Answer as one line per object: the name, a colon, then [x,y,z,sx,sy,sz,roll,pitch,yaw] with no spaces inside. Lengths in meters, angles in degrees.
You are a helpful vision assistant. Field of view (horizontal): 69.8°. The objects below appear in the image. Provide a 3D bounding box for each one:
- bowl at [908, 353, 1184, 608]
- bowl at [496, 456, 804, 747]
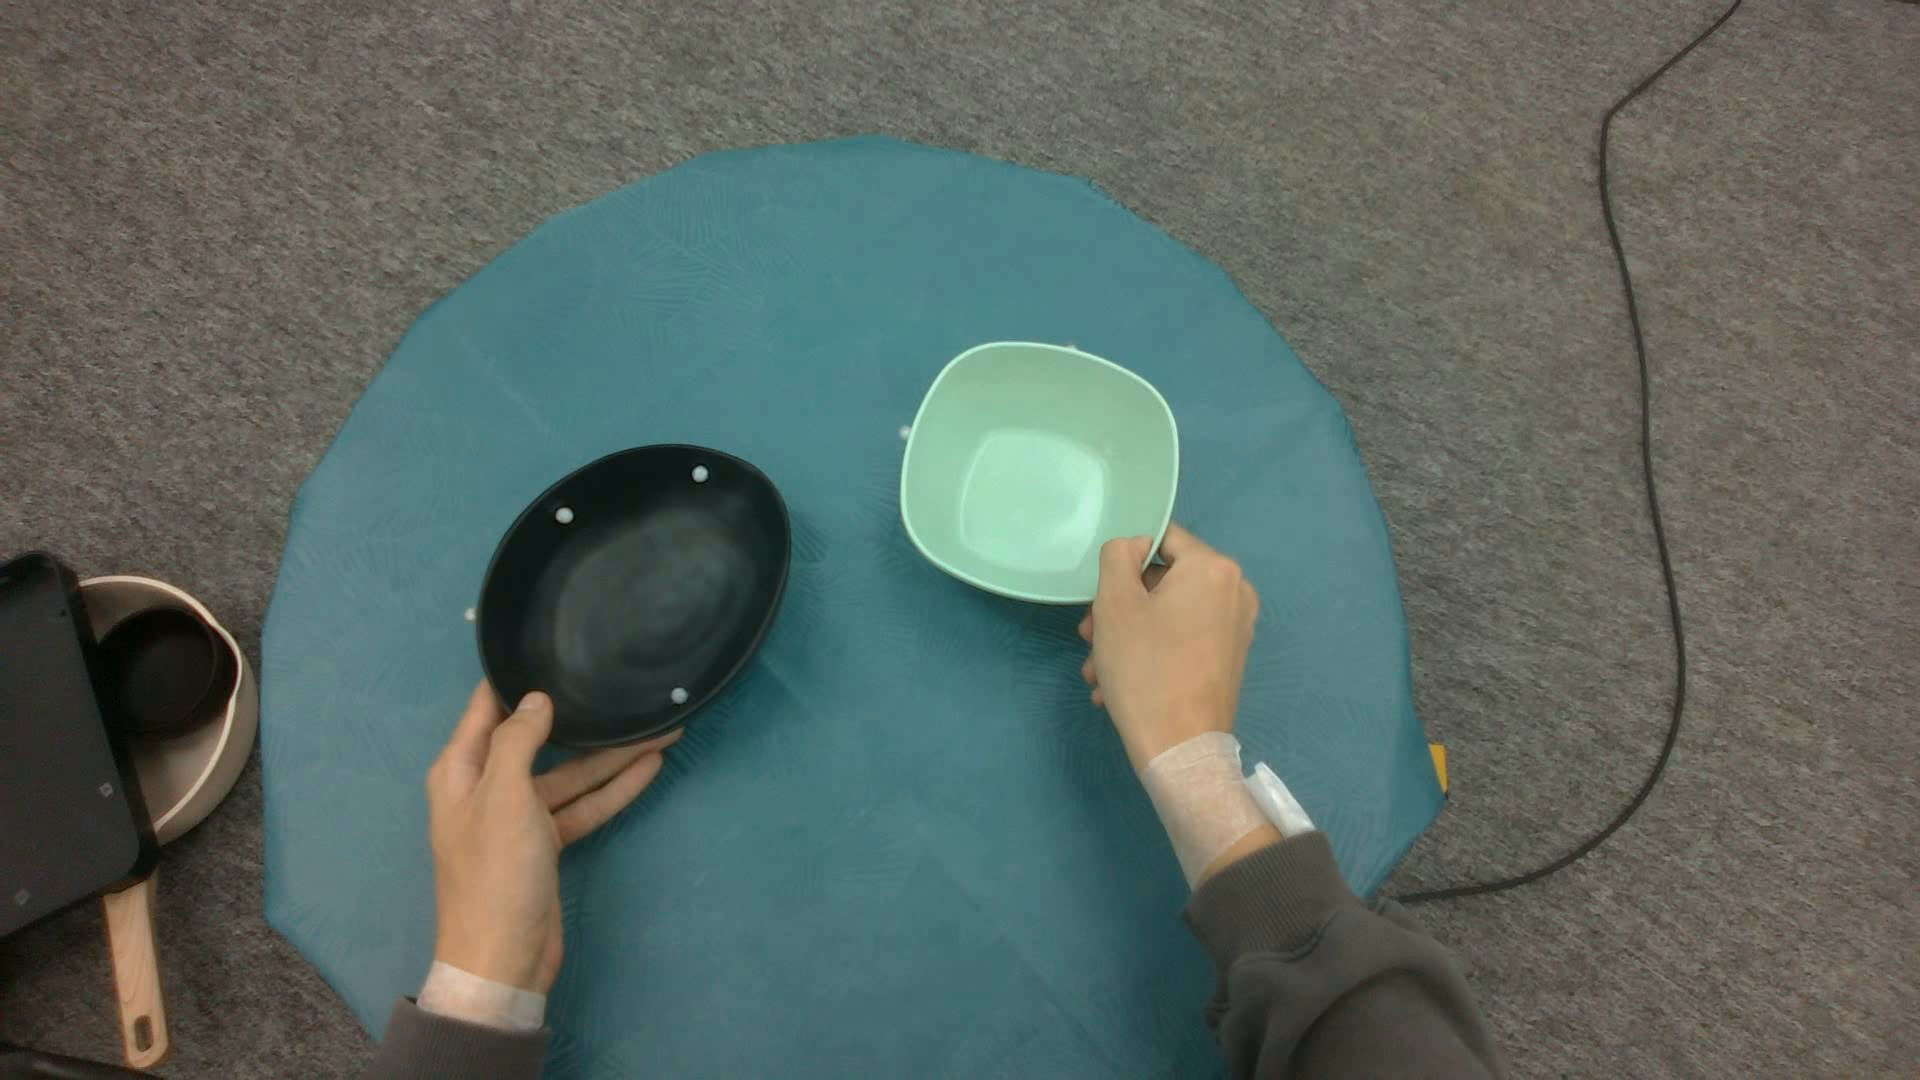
bowl: [0.045,-0.024,0.733,0.151,0.058,0.152,0,69,1]
bowl: [-0.154,0.034,0.711,0.137,0.066,0.171,34,71,13]
